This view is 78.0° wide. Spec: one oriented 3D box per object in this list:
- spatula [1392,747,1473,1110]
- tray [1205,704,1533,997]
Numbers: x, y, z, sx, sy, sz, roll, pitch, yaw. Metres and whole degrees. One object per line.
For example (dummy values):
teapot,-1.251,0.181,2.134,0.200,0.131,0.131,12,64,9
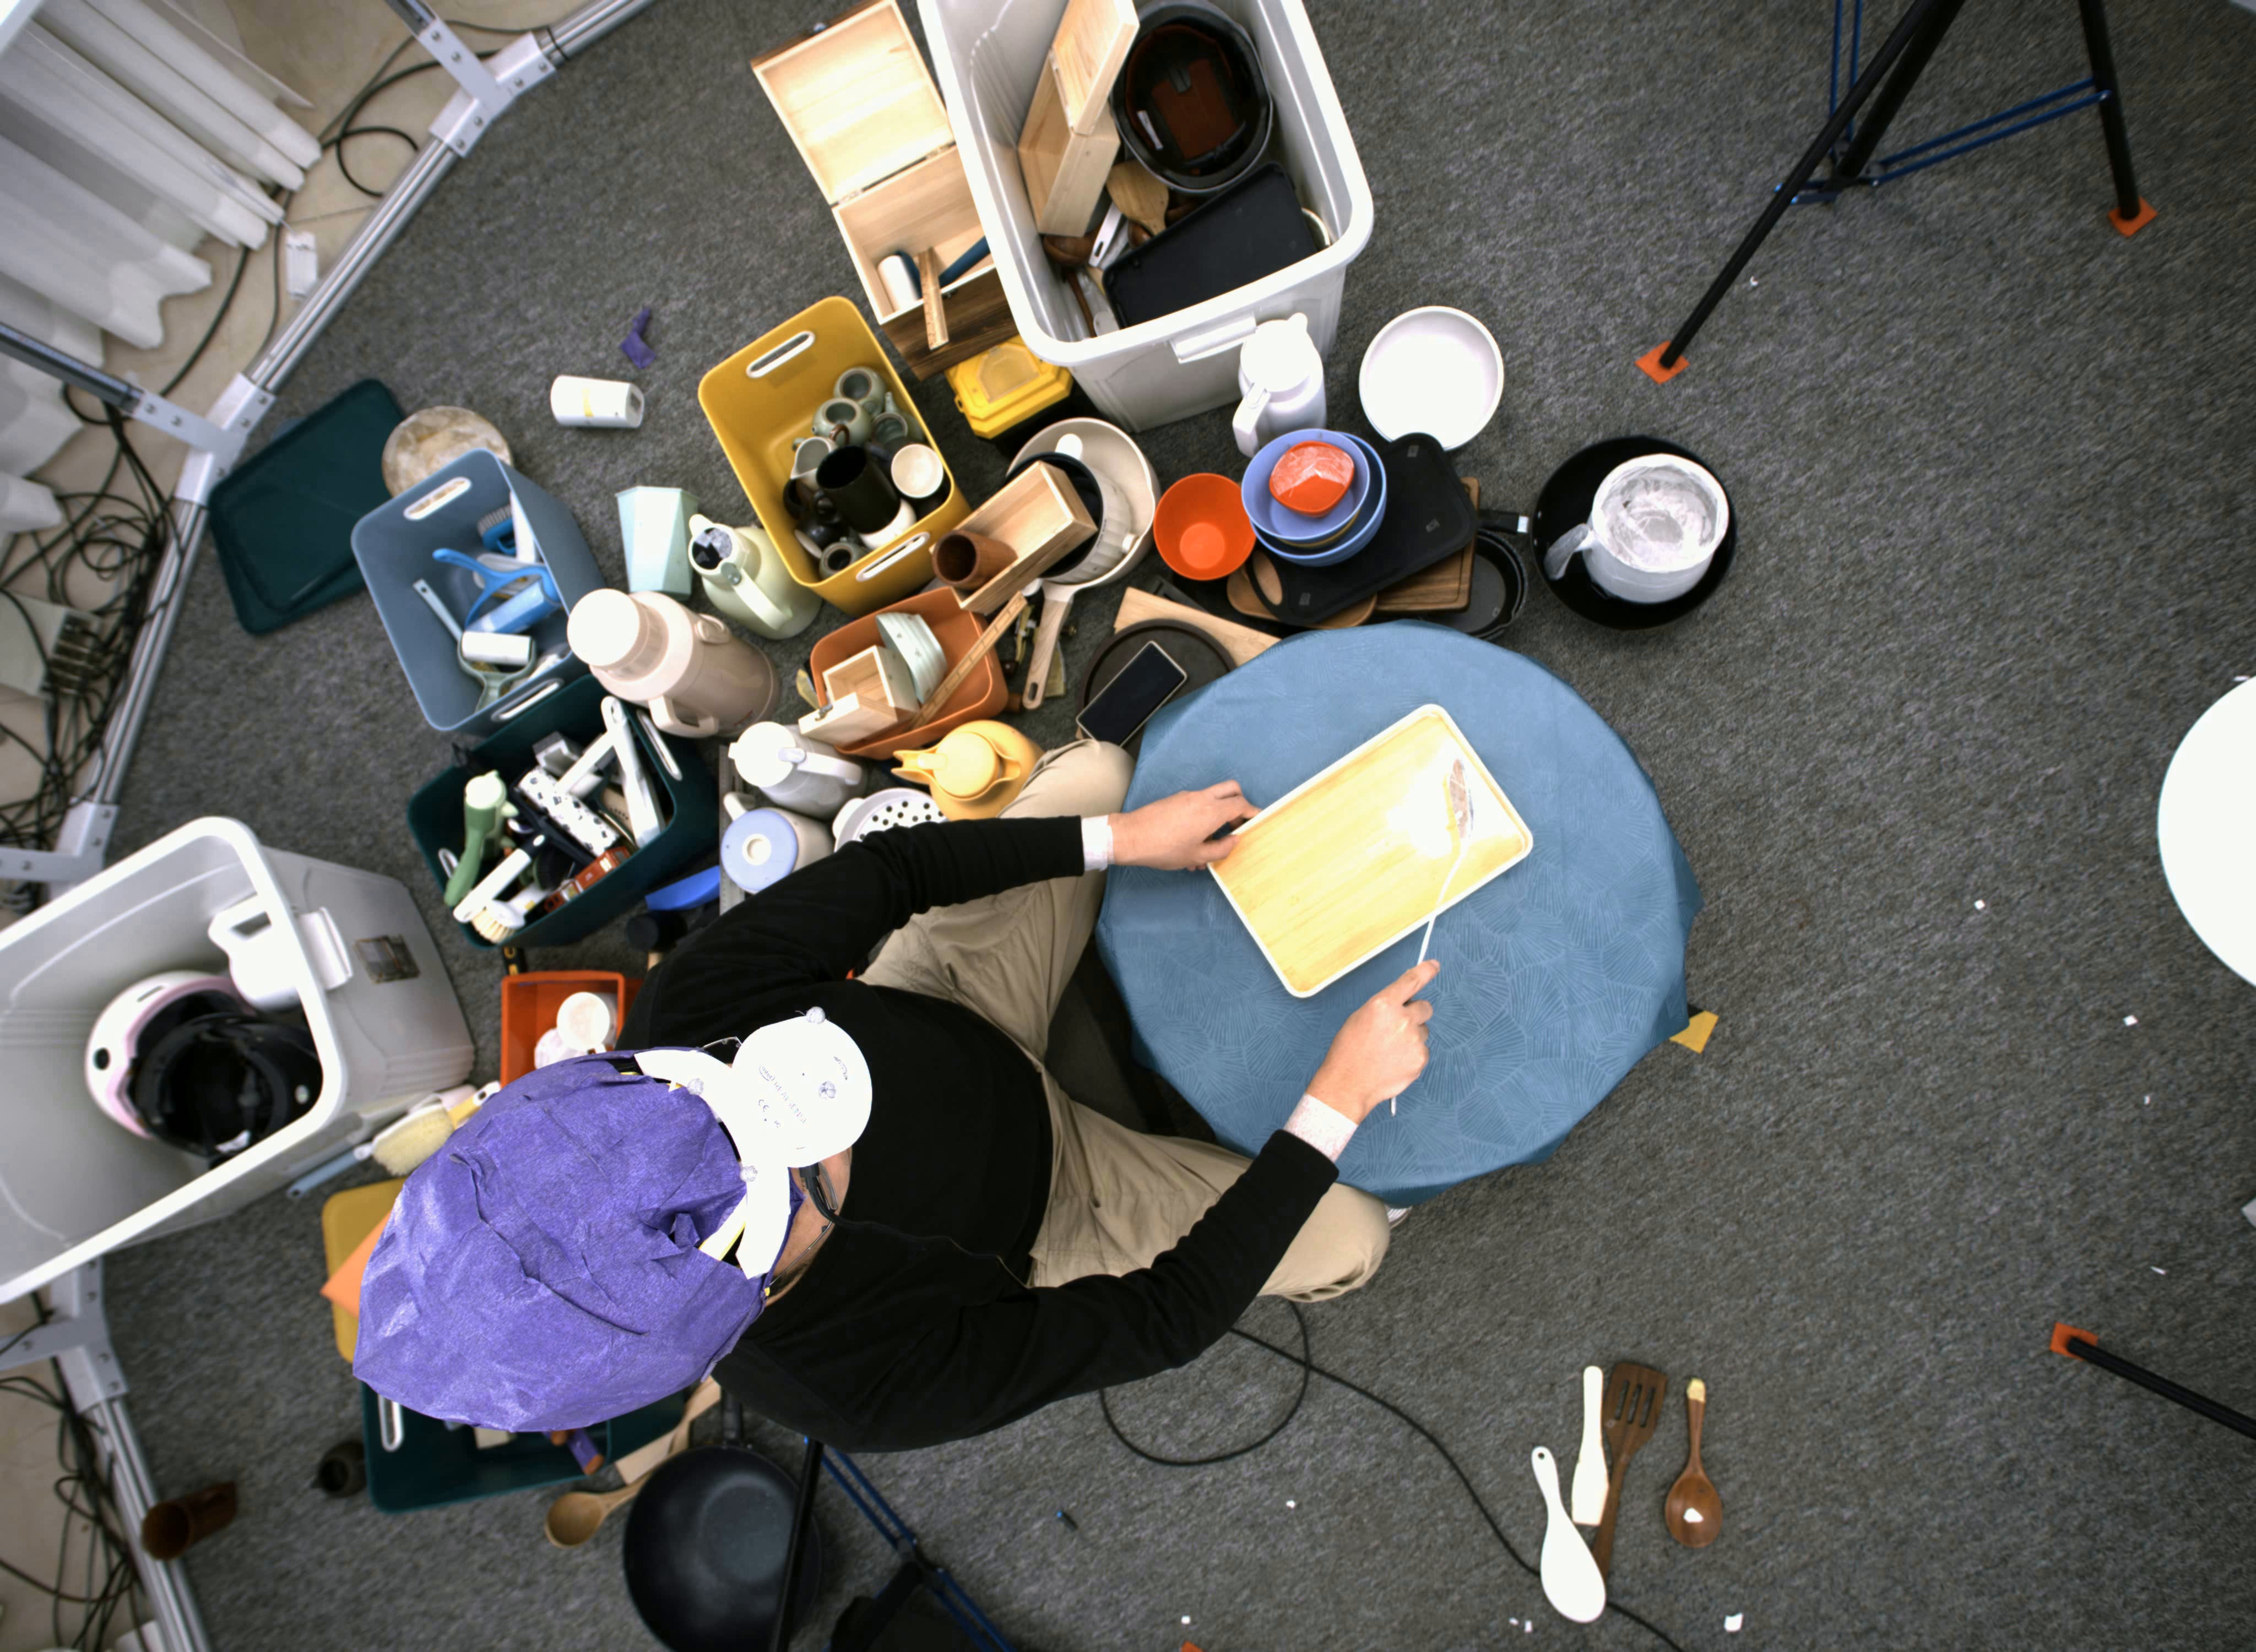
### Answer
spatula,0.292,0.095,1.352,0.045,0.100,0.360,17,76,11
tray,0.251,0.025,1.453,0.302,0.027,0.190,-33,82,7
